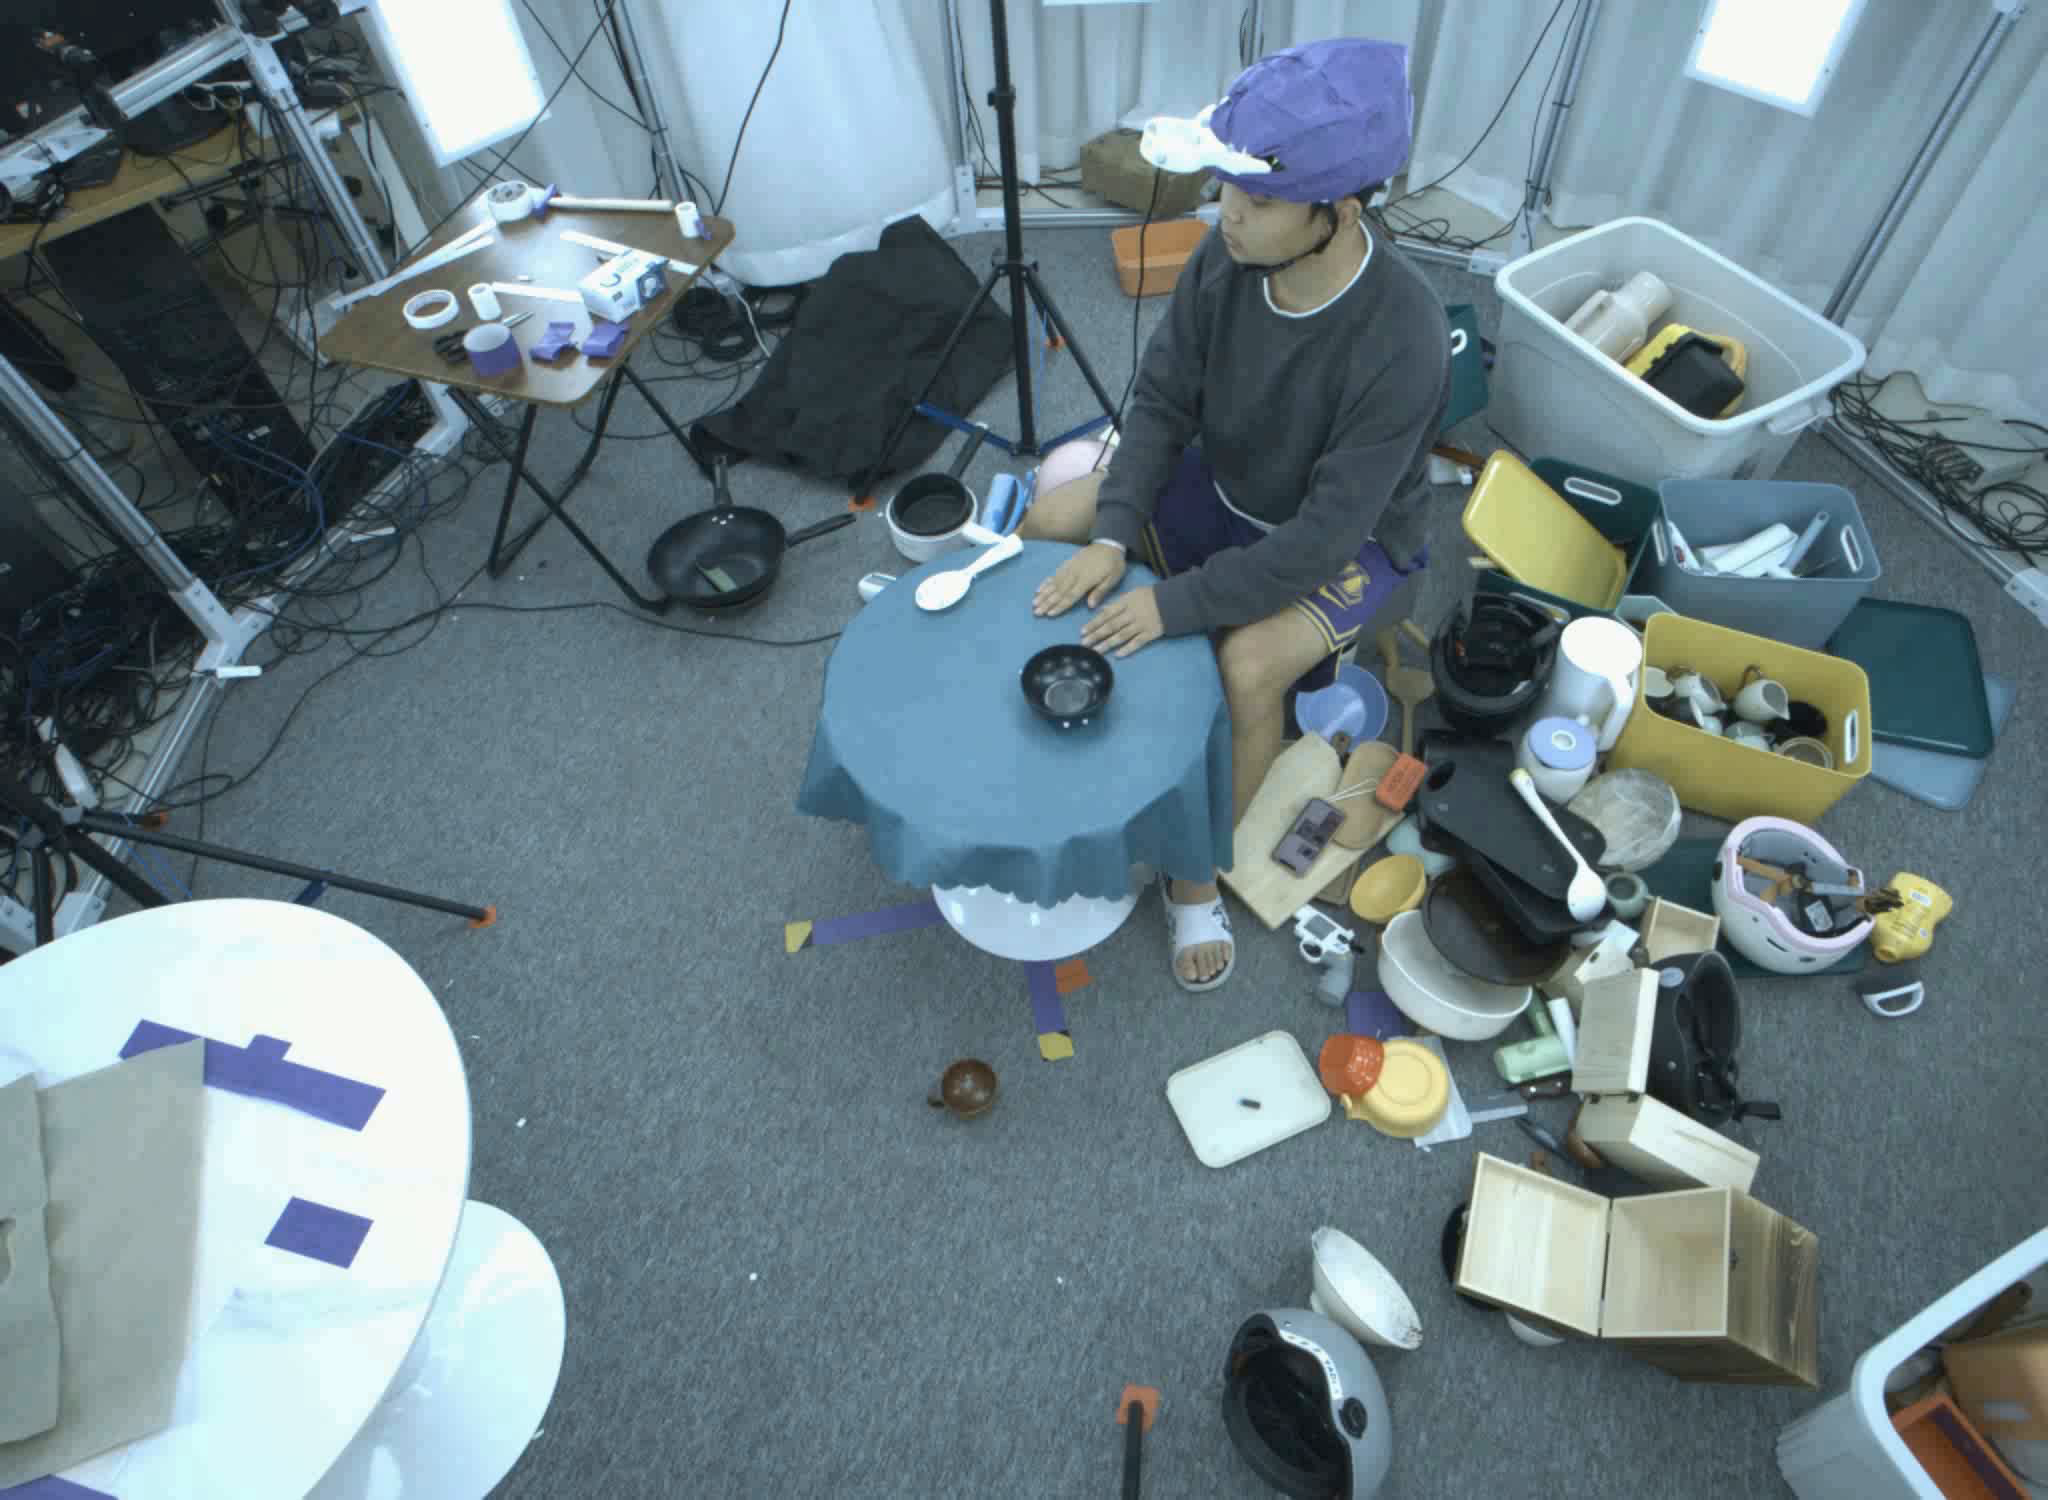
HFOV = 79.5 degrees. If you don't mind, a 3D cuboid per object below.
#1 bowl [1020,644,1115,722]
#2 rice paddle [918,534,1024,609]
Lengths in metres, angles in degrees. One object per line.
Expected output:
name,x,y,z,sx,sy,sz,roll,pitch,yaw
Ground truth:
bowl,0.065,-0.091,1.824,0.140,0.050,0.138,0,53,2
rice paddle,-0.087,-0.287,1.979,0.207,0.030,0.067,-37,60,-22
